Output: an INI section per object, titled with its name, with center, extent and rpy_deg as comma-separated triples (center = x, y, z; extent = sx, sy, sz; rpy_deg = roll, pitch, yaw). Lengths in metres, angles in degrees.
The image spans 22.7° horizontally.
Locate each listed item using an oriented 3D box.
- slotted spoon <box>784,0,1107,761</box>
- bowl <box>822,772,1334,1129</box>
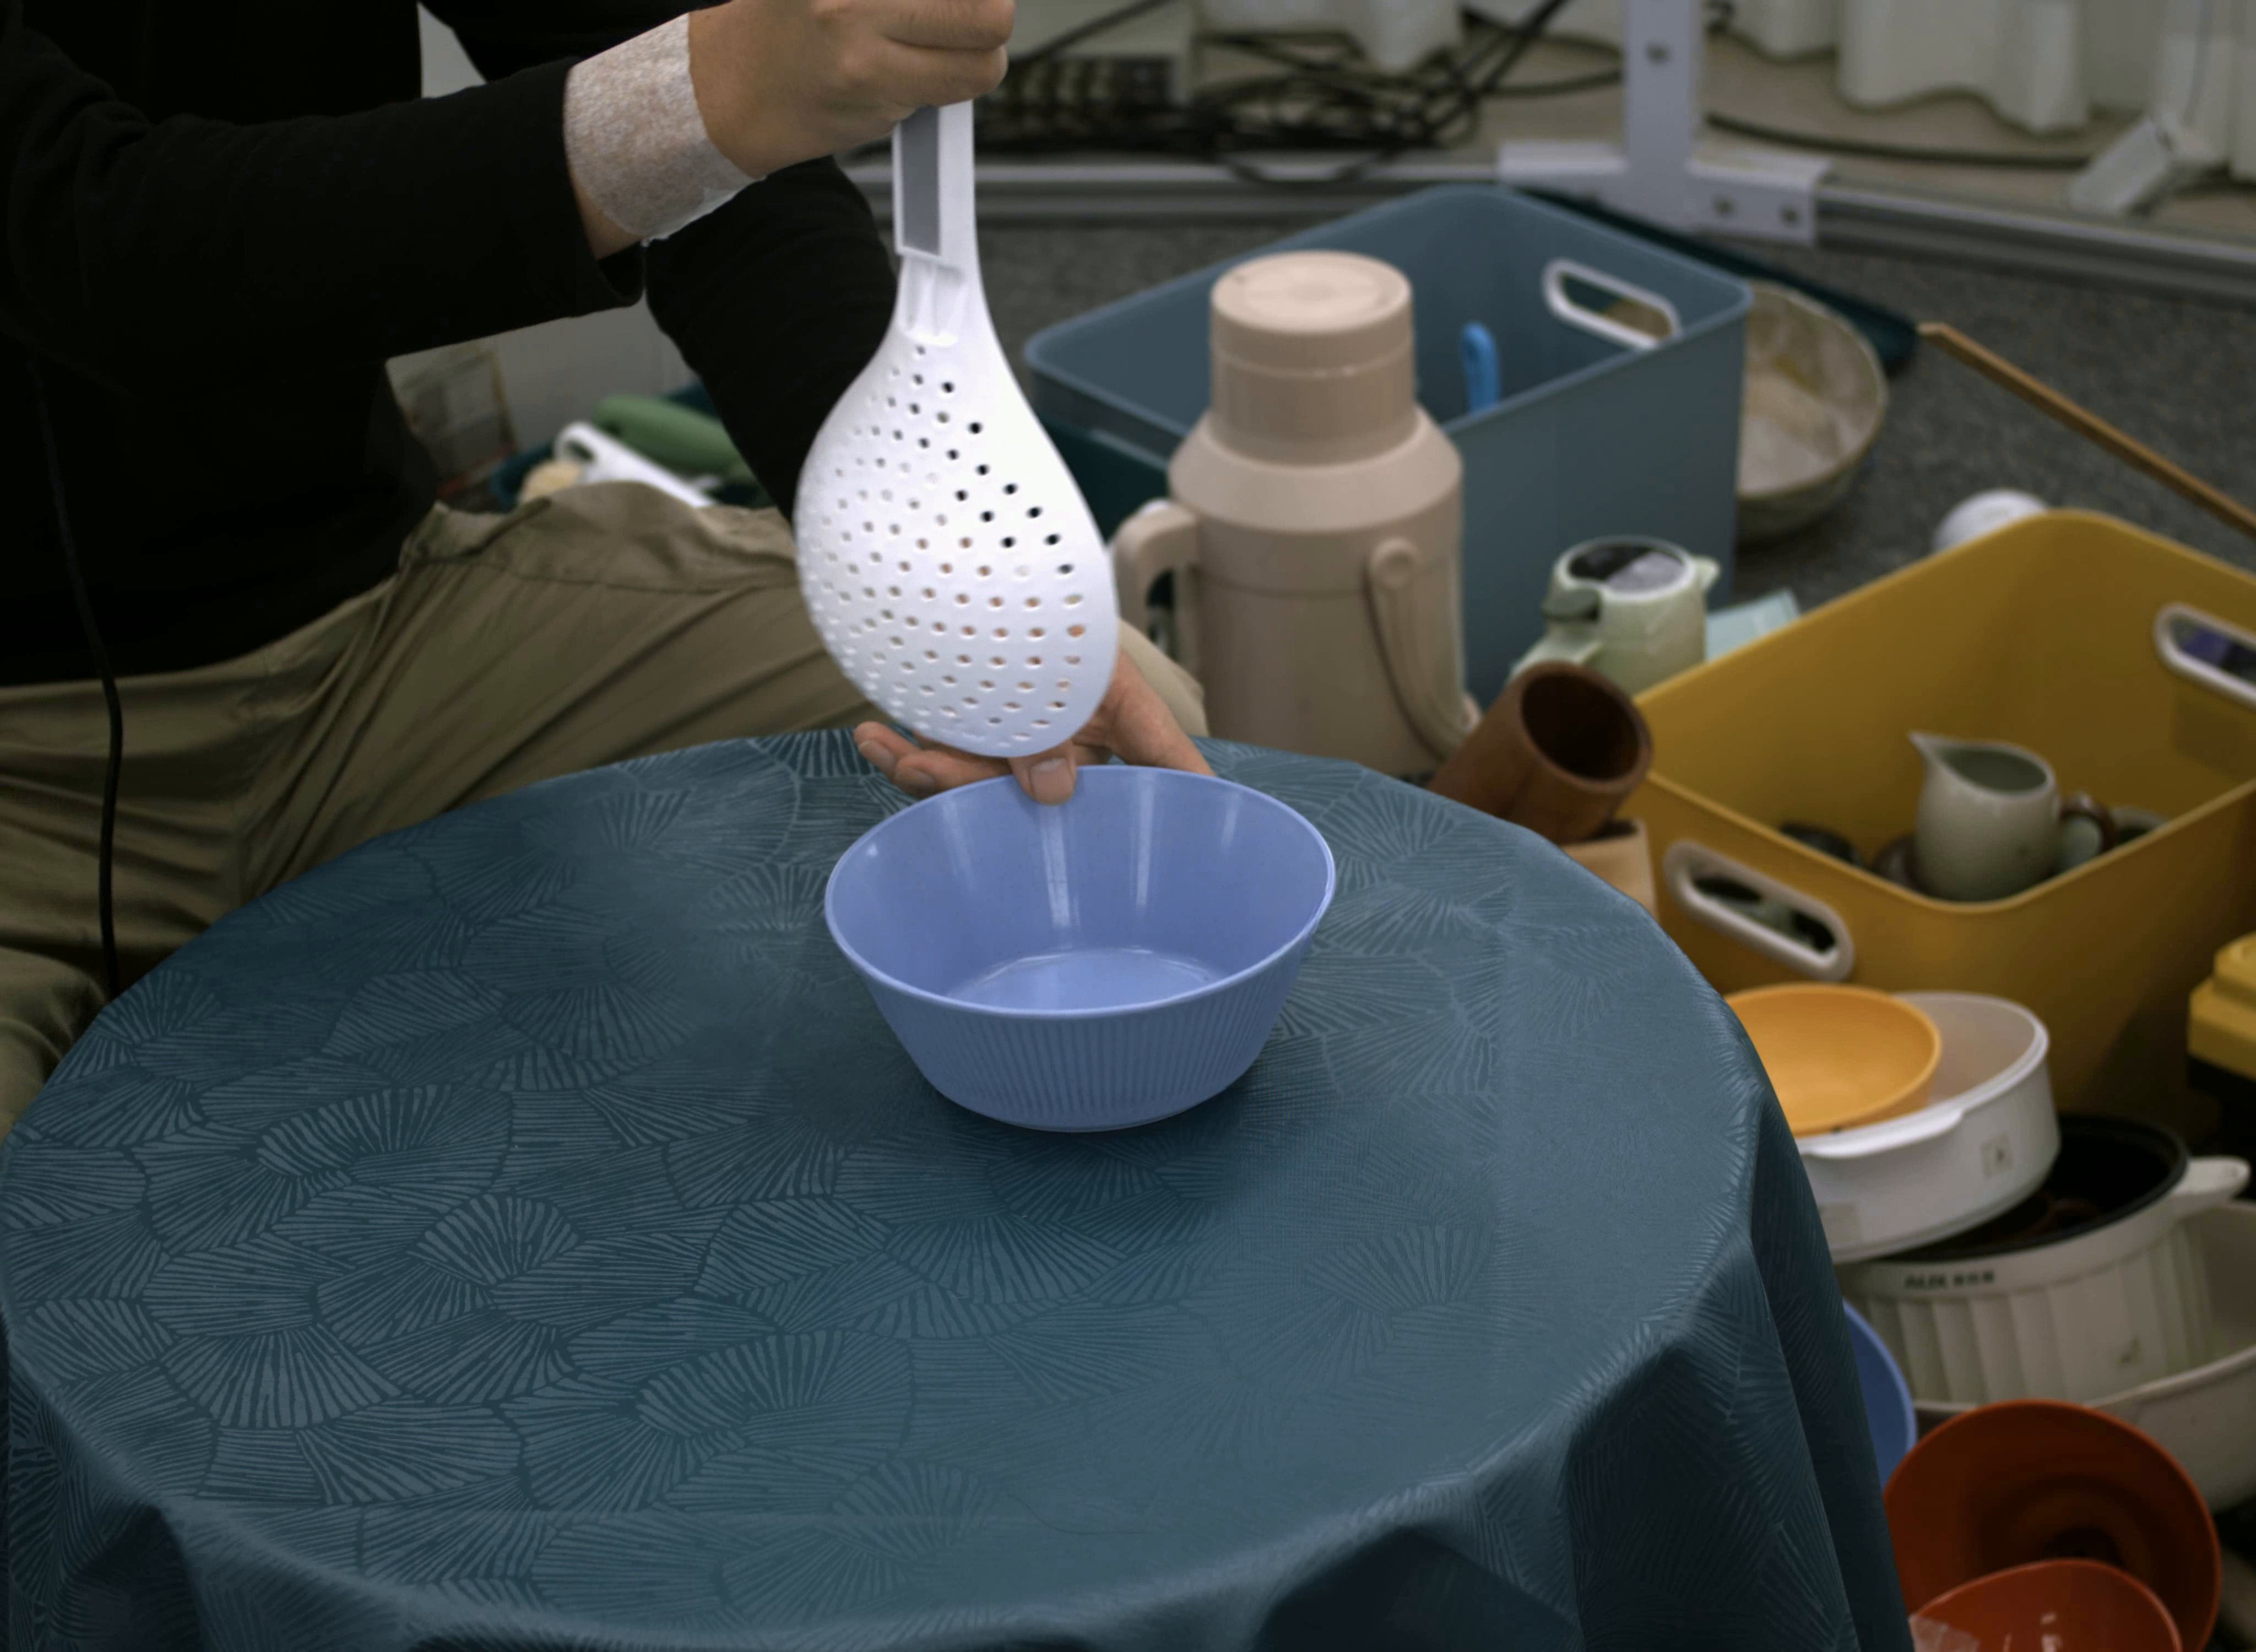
[slotted spoon]
center = -0.065, -0.178, 1.873
extent = 0.135, 0.346, 0.046
rpy_deg = 18, 27, 30
[bowl]
center = -0.015, 0.048, 1.929
extent = 0.175, 0.069, 0.178
rpy_deg = -3, 26, 2
